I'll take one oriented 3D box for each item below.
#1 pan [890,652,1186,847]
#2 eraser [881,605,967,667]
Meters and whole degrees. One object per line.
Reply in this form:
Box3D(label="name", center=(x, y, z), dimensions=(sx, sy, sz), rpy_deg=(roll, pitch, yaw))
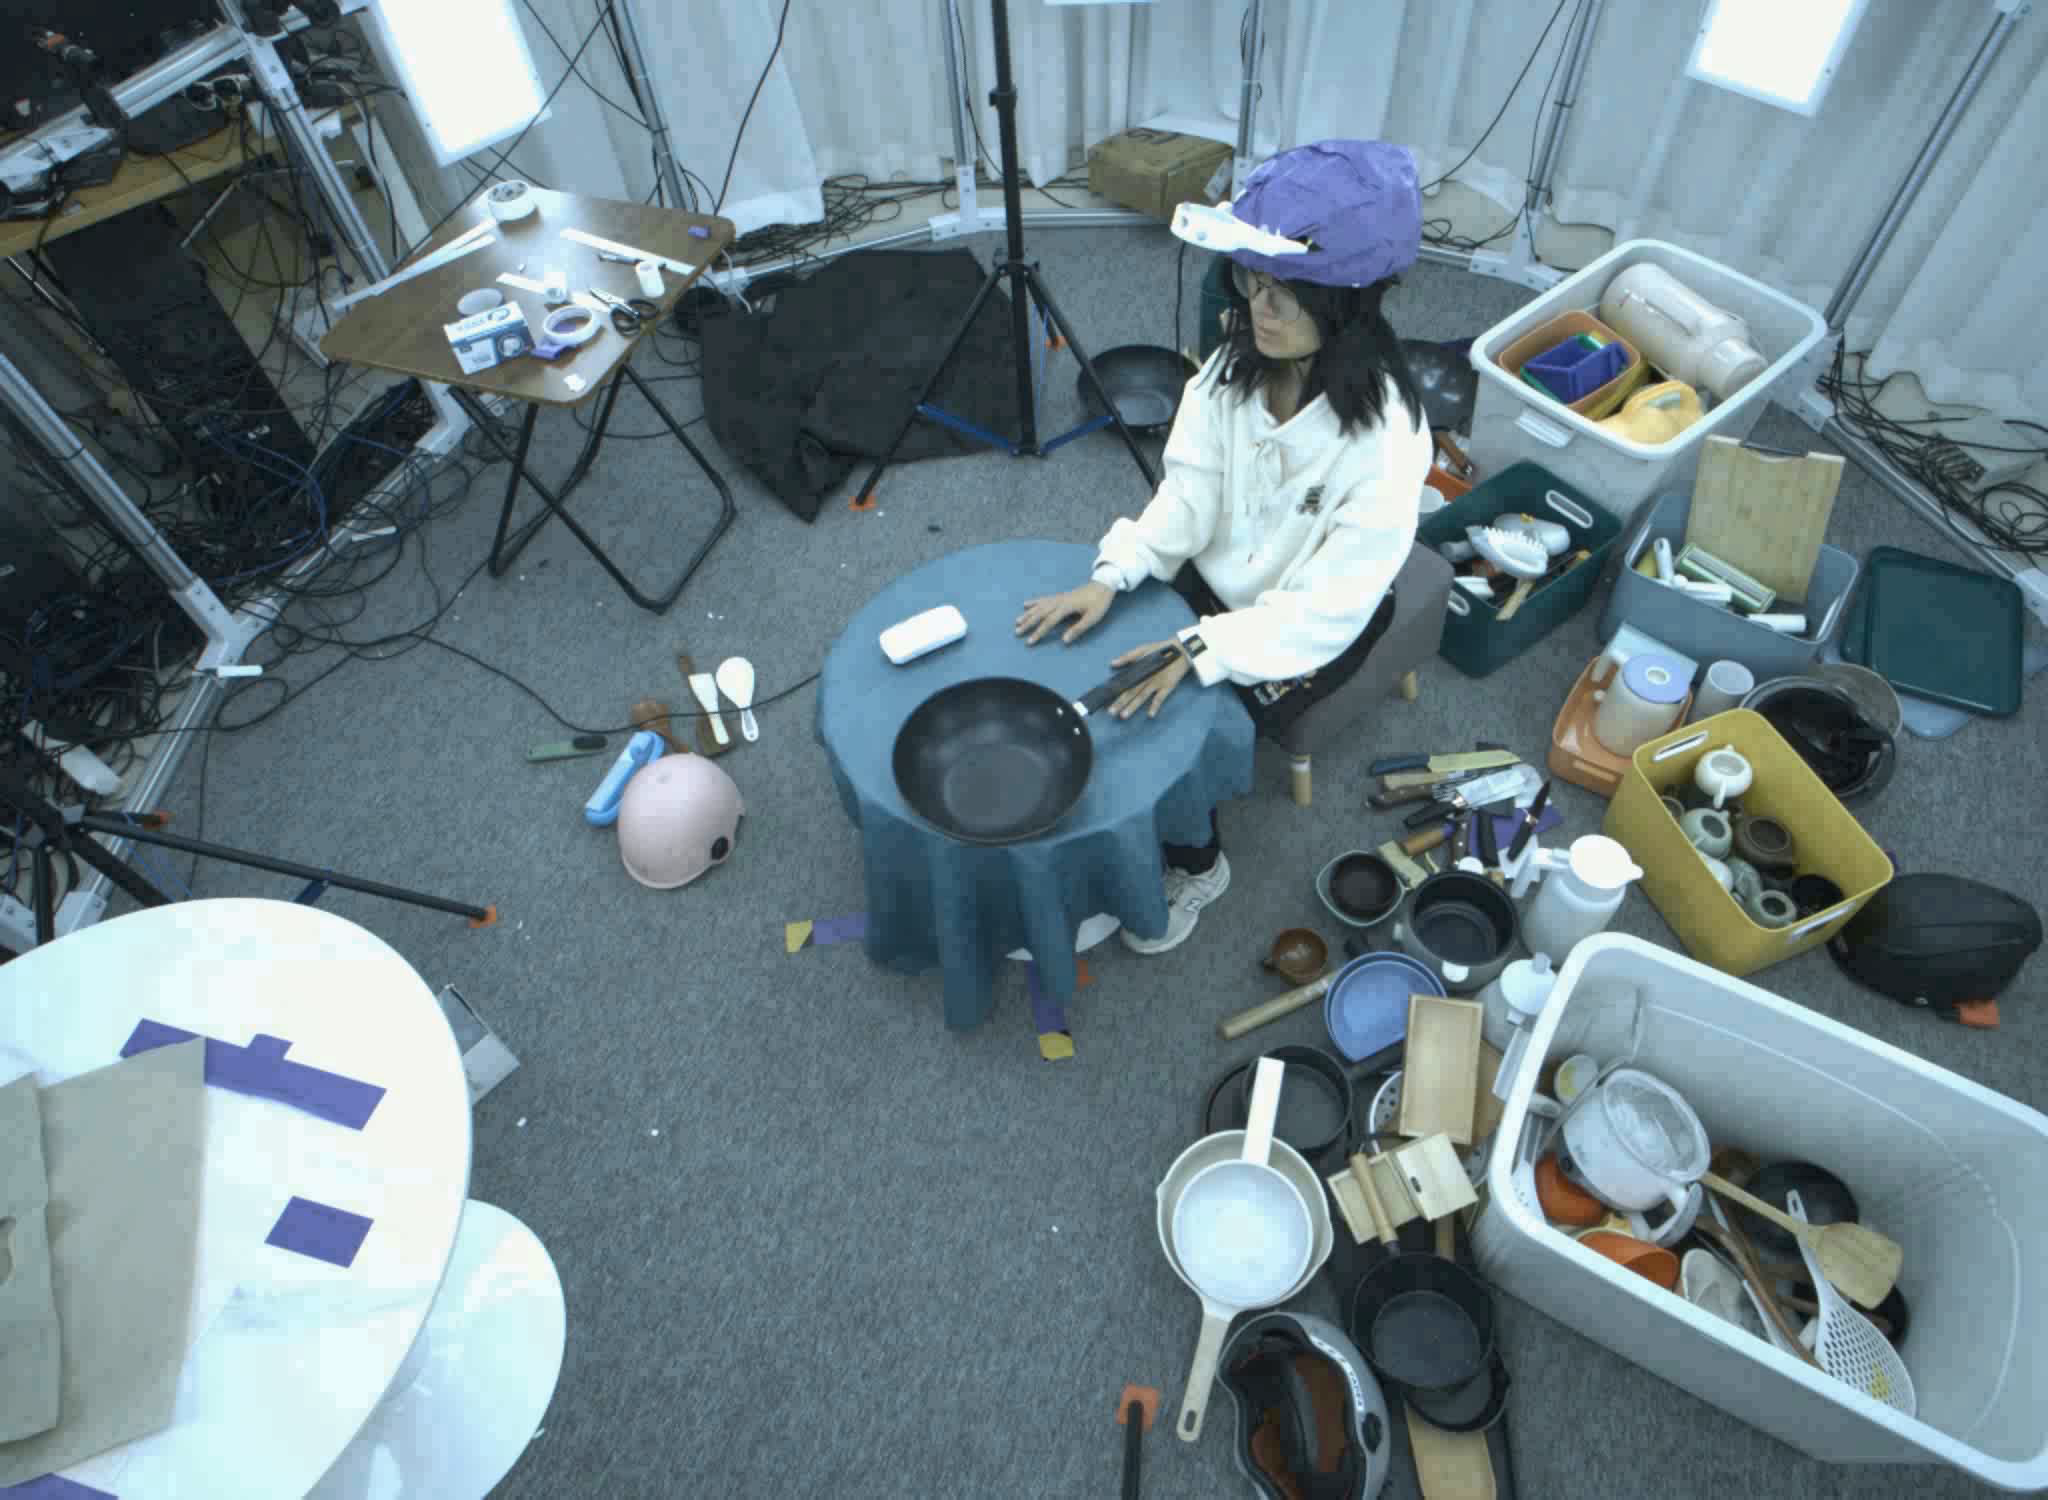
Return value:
Box3D(label="pan", center=(0.033, -0.014, 1.746), dimensions=(0.467, 0.088, 0.283), rpy_deg=(-29, 59, -19))
Box3D(label="eraser", center=(-0.155, -0.177, 1.900), dimensions=(0.132, 0.035, 0.062), rpy_deg=(-26, 61, -15))
